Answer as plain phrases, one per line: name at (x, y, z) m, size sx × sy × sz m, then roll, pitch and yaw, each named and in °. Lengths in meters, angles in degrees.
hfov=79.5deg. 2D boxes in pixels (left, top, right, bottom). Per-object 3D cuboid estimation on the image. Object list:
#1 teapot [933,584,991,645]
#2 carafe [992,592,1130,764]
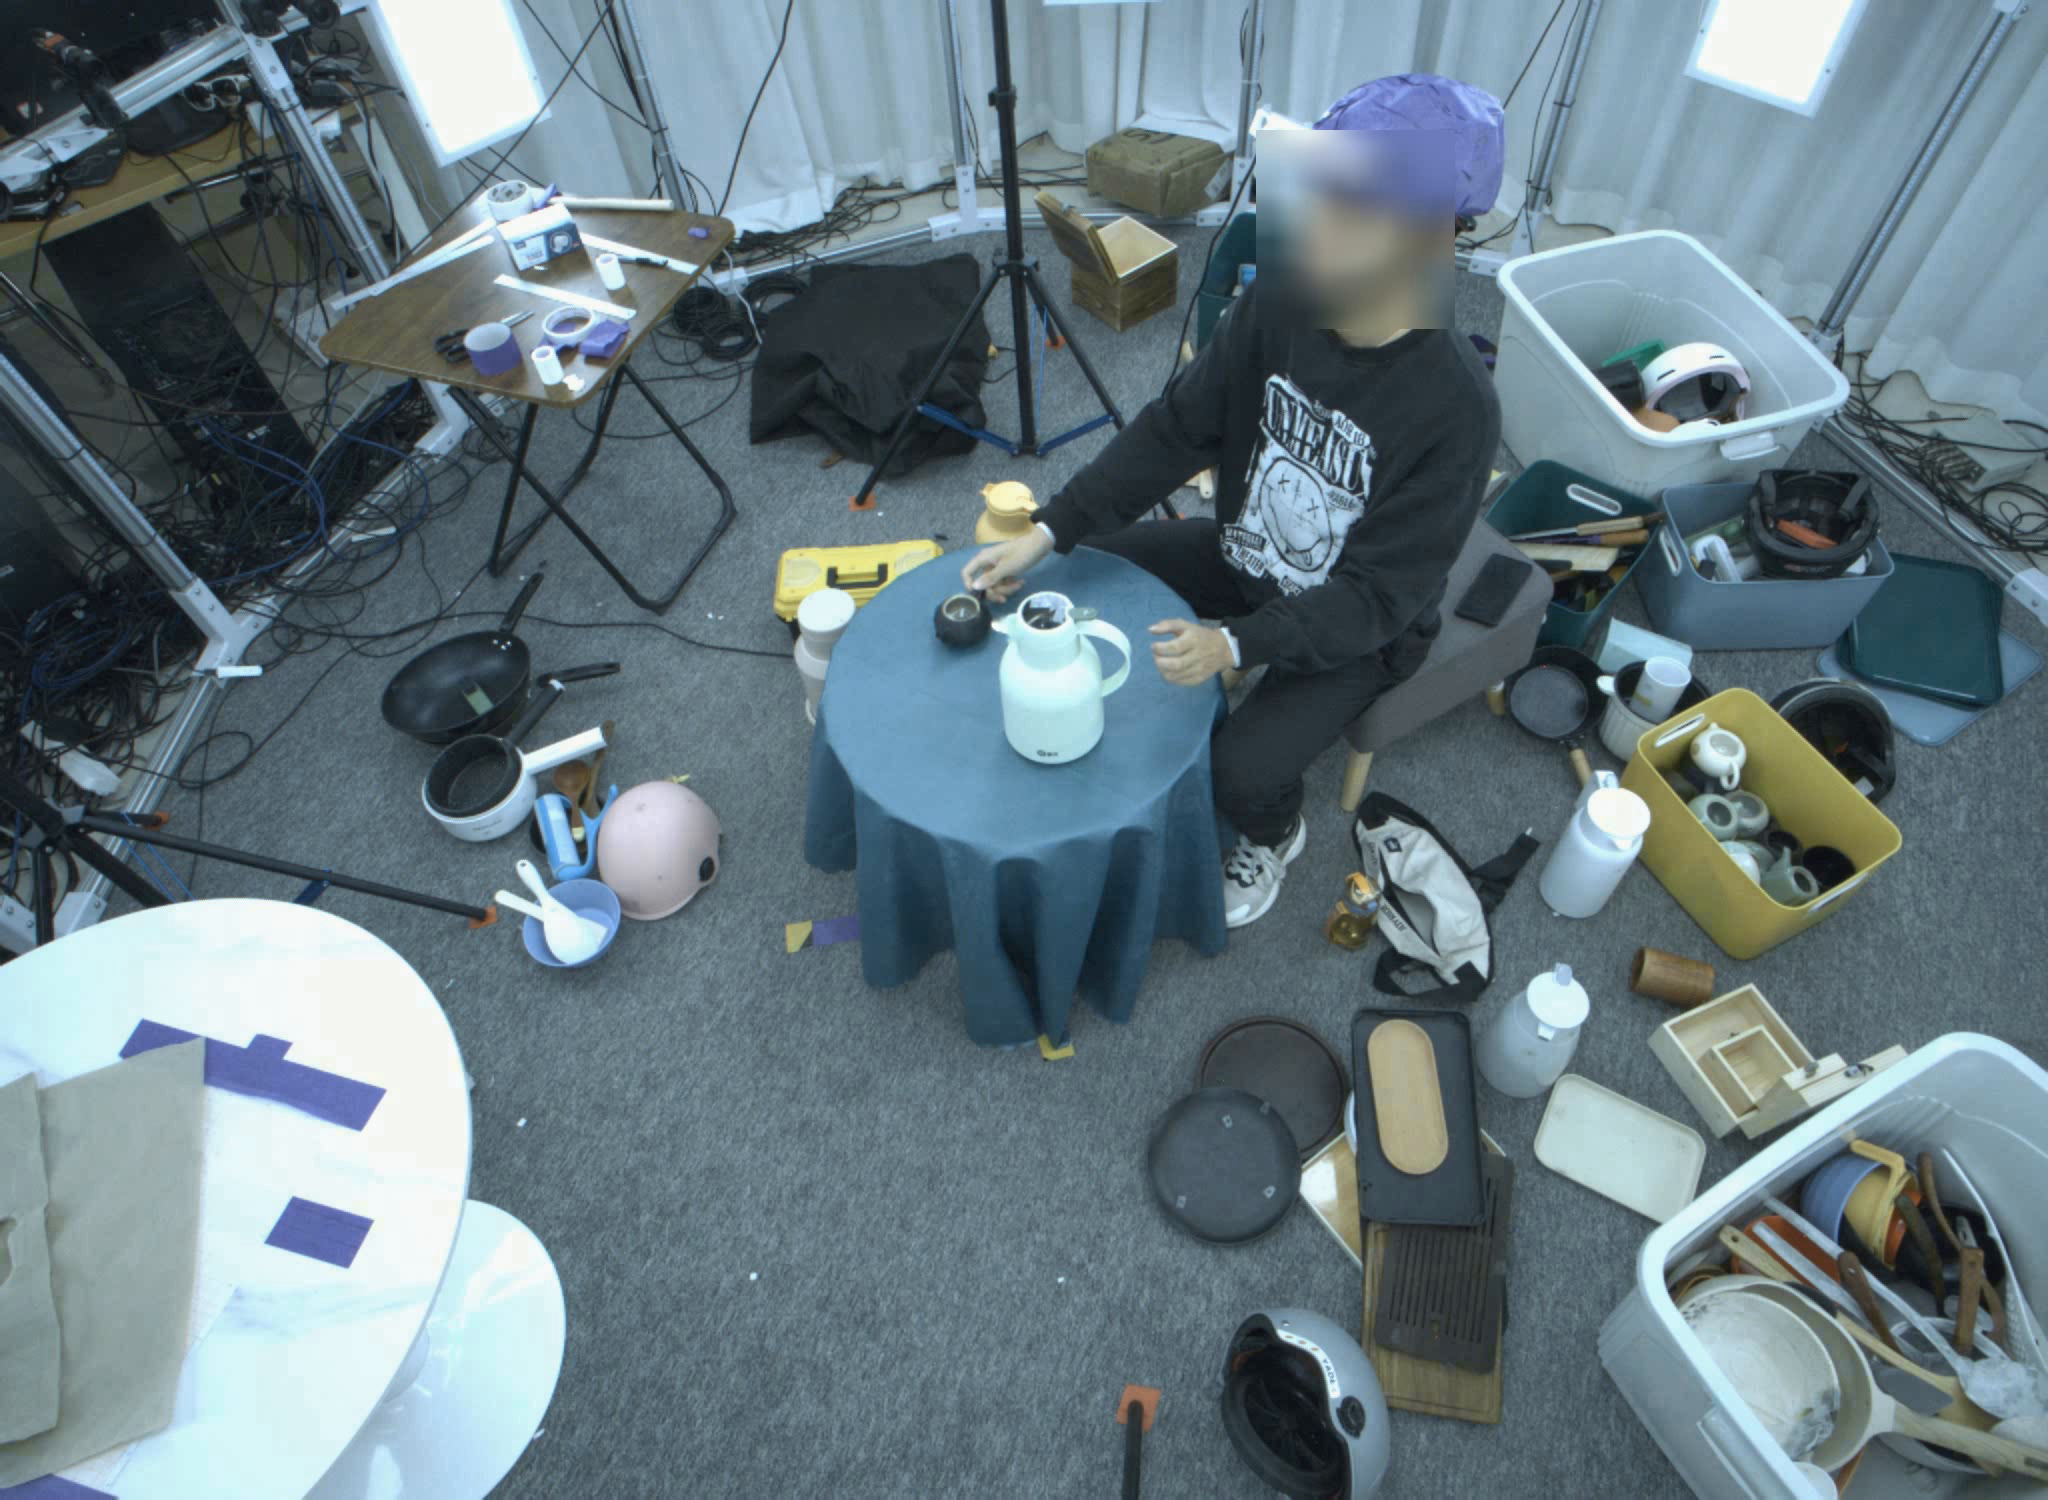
teapot at (-0.096, -0.204, 1.899) m, size 0.090 × 0.053 × 0.133 m, roll 25°, pitch 59°, yaw 17°
carafe at (0.050, -0.104, 1.702) m, size 0.187 × 0.259 × 0.143 m, roll 2°, pitch 53°, yaw 1°
